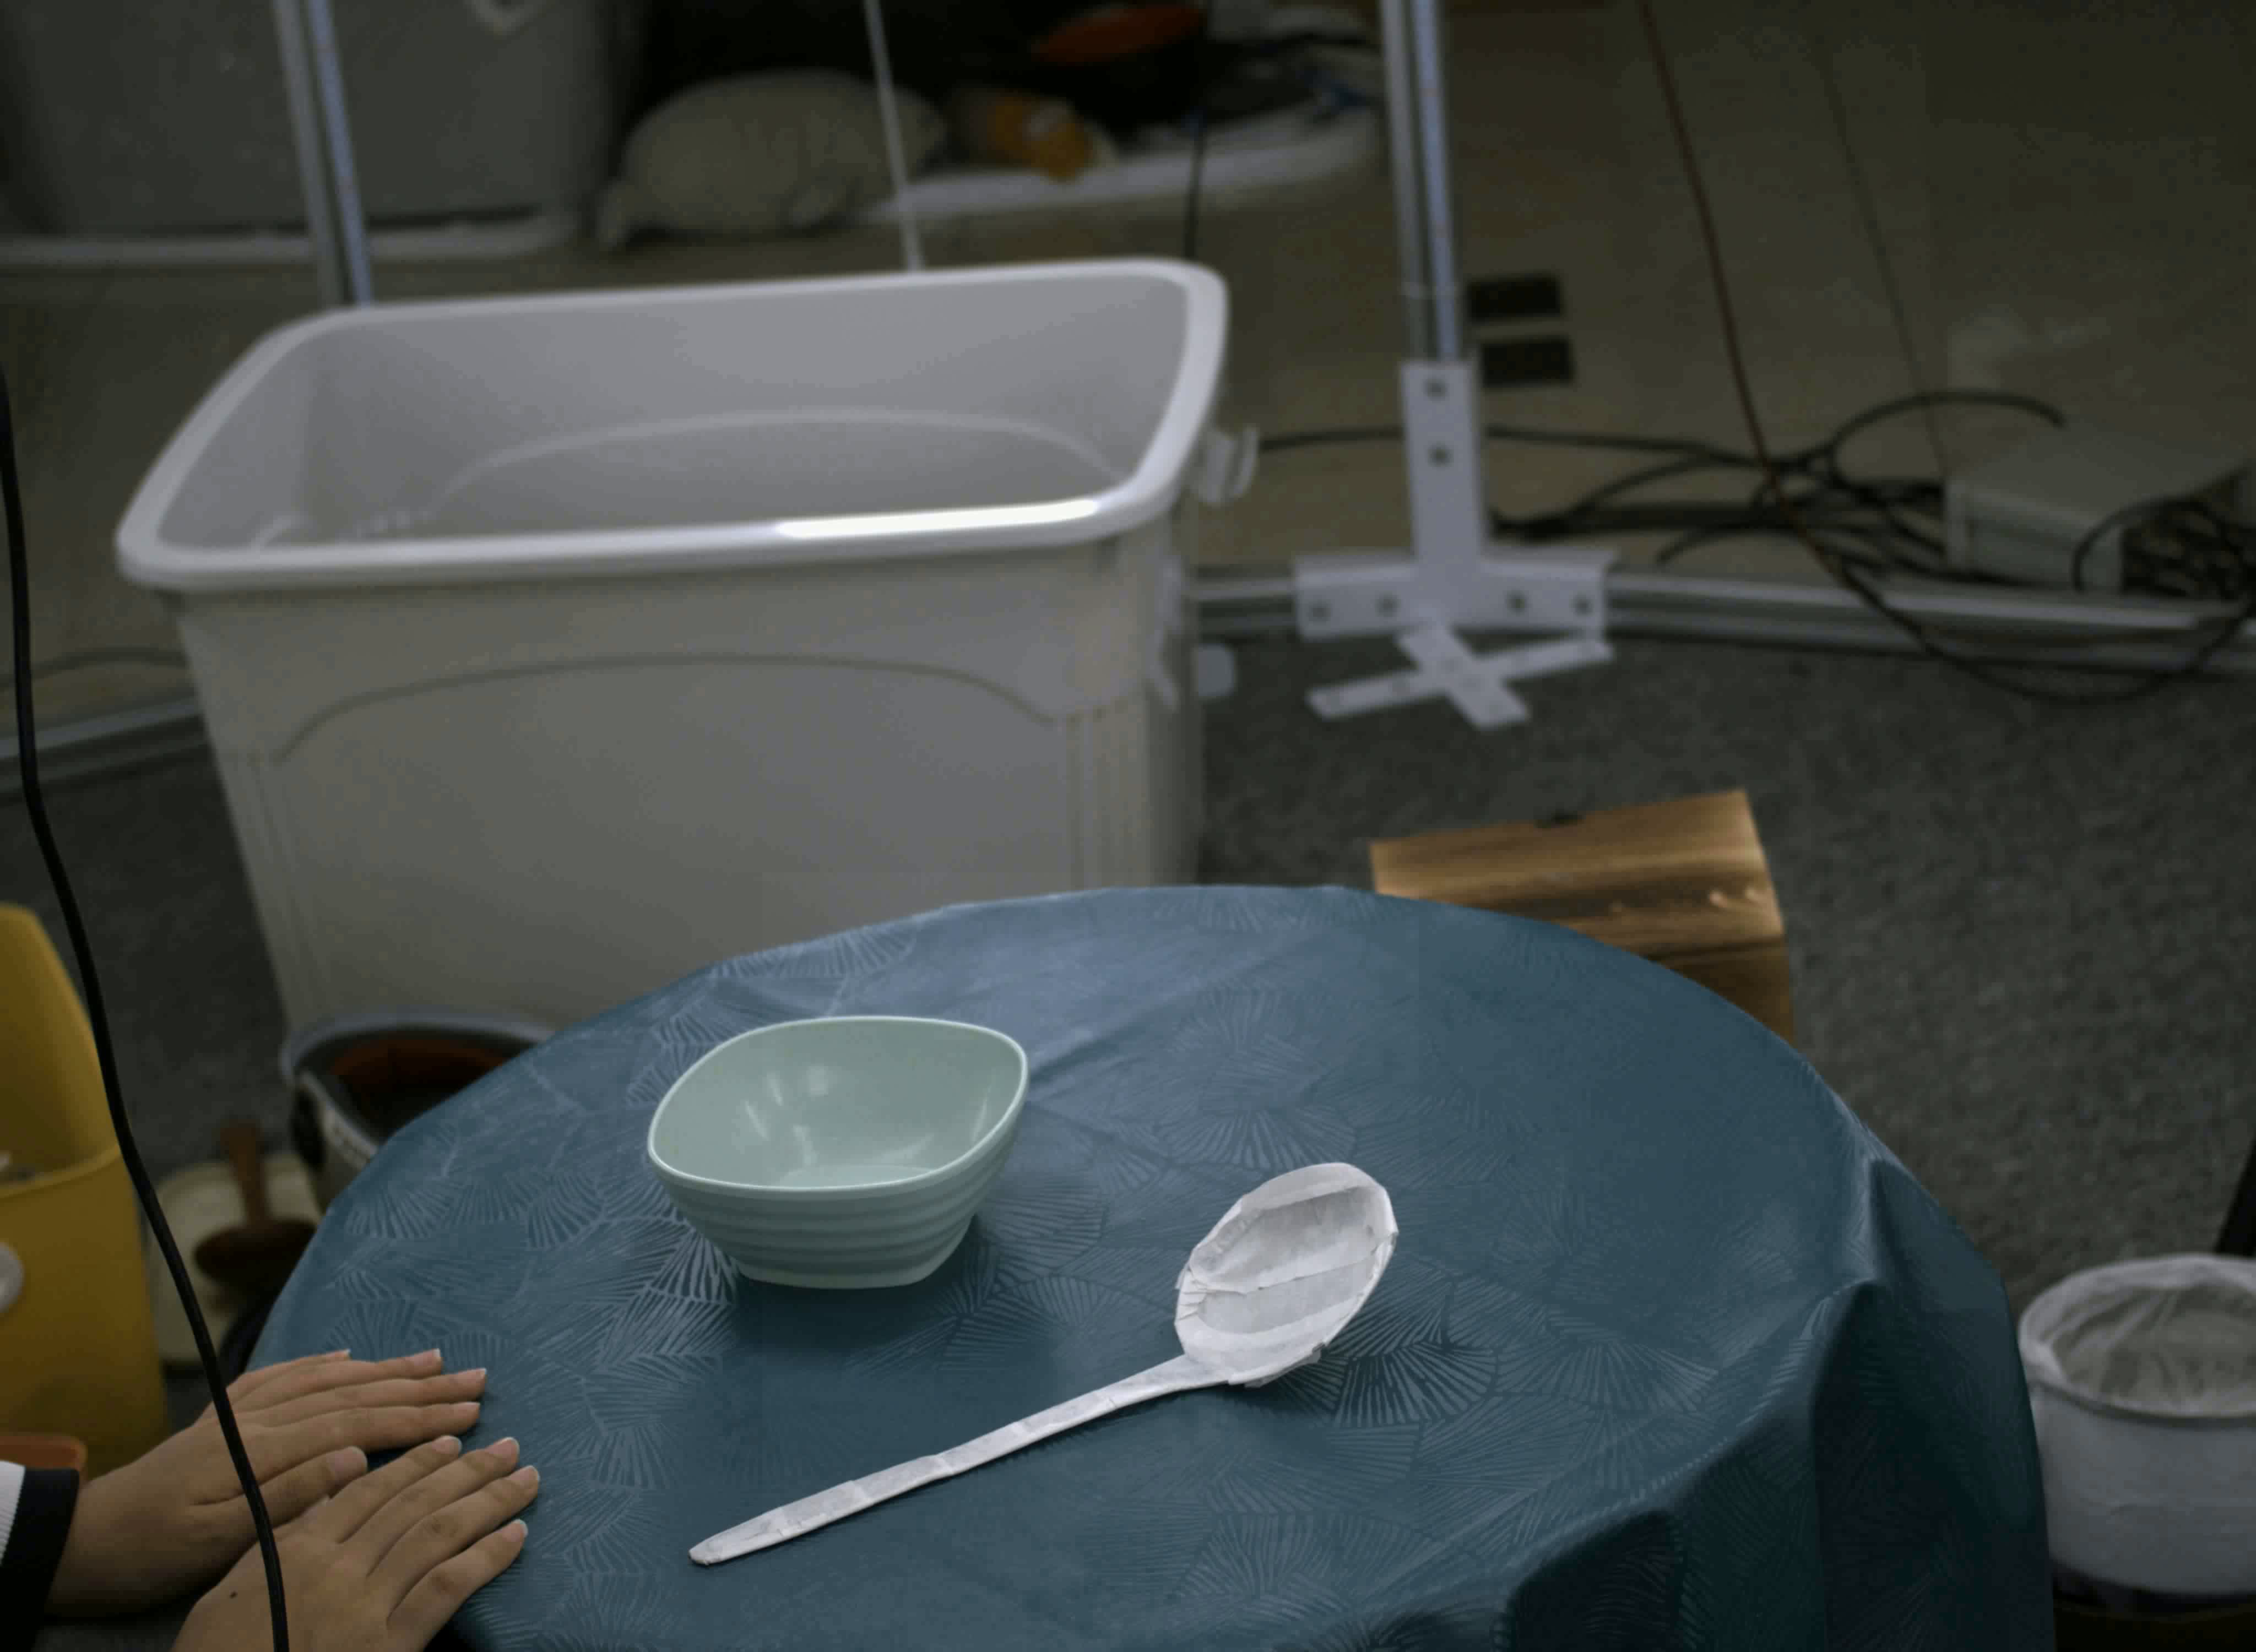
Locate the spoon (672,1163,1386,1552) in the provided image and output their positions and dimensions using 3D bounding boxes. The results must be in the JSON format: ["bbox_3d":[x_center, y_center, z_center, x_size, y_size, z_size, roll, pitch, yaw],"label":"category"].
[{"bbox_3d":[-0.037,0.185,1.991,0.276,0.060,0.099,-16,22,-20],"label":"spoon"}]

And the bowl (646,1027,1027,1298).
[{"bbox_3d":[-0.106,0.131,2.128,0.151,0.059,0.149,-6,25,3],"label":"bowl"}]
